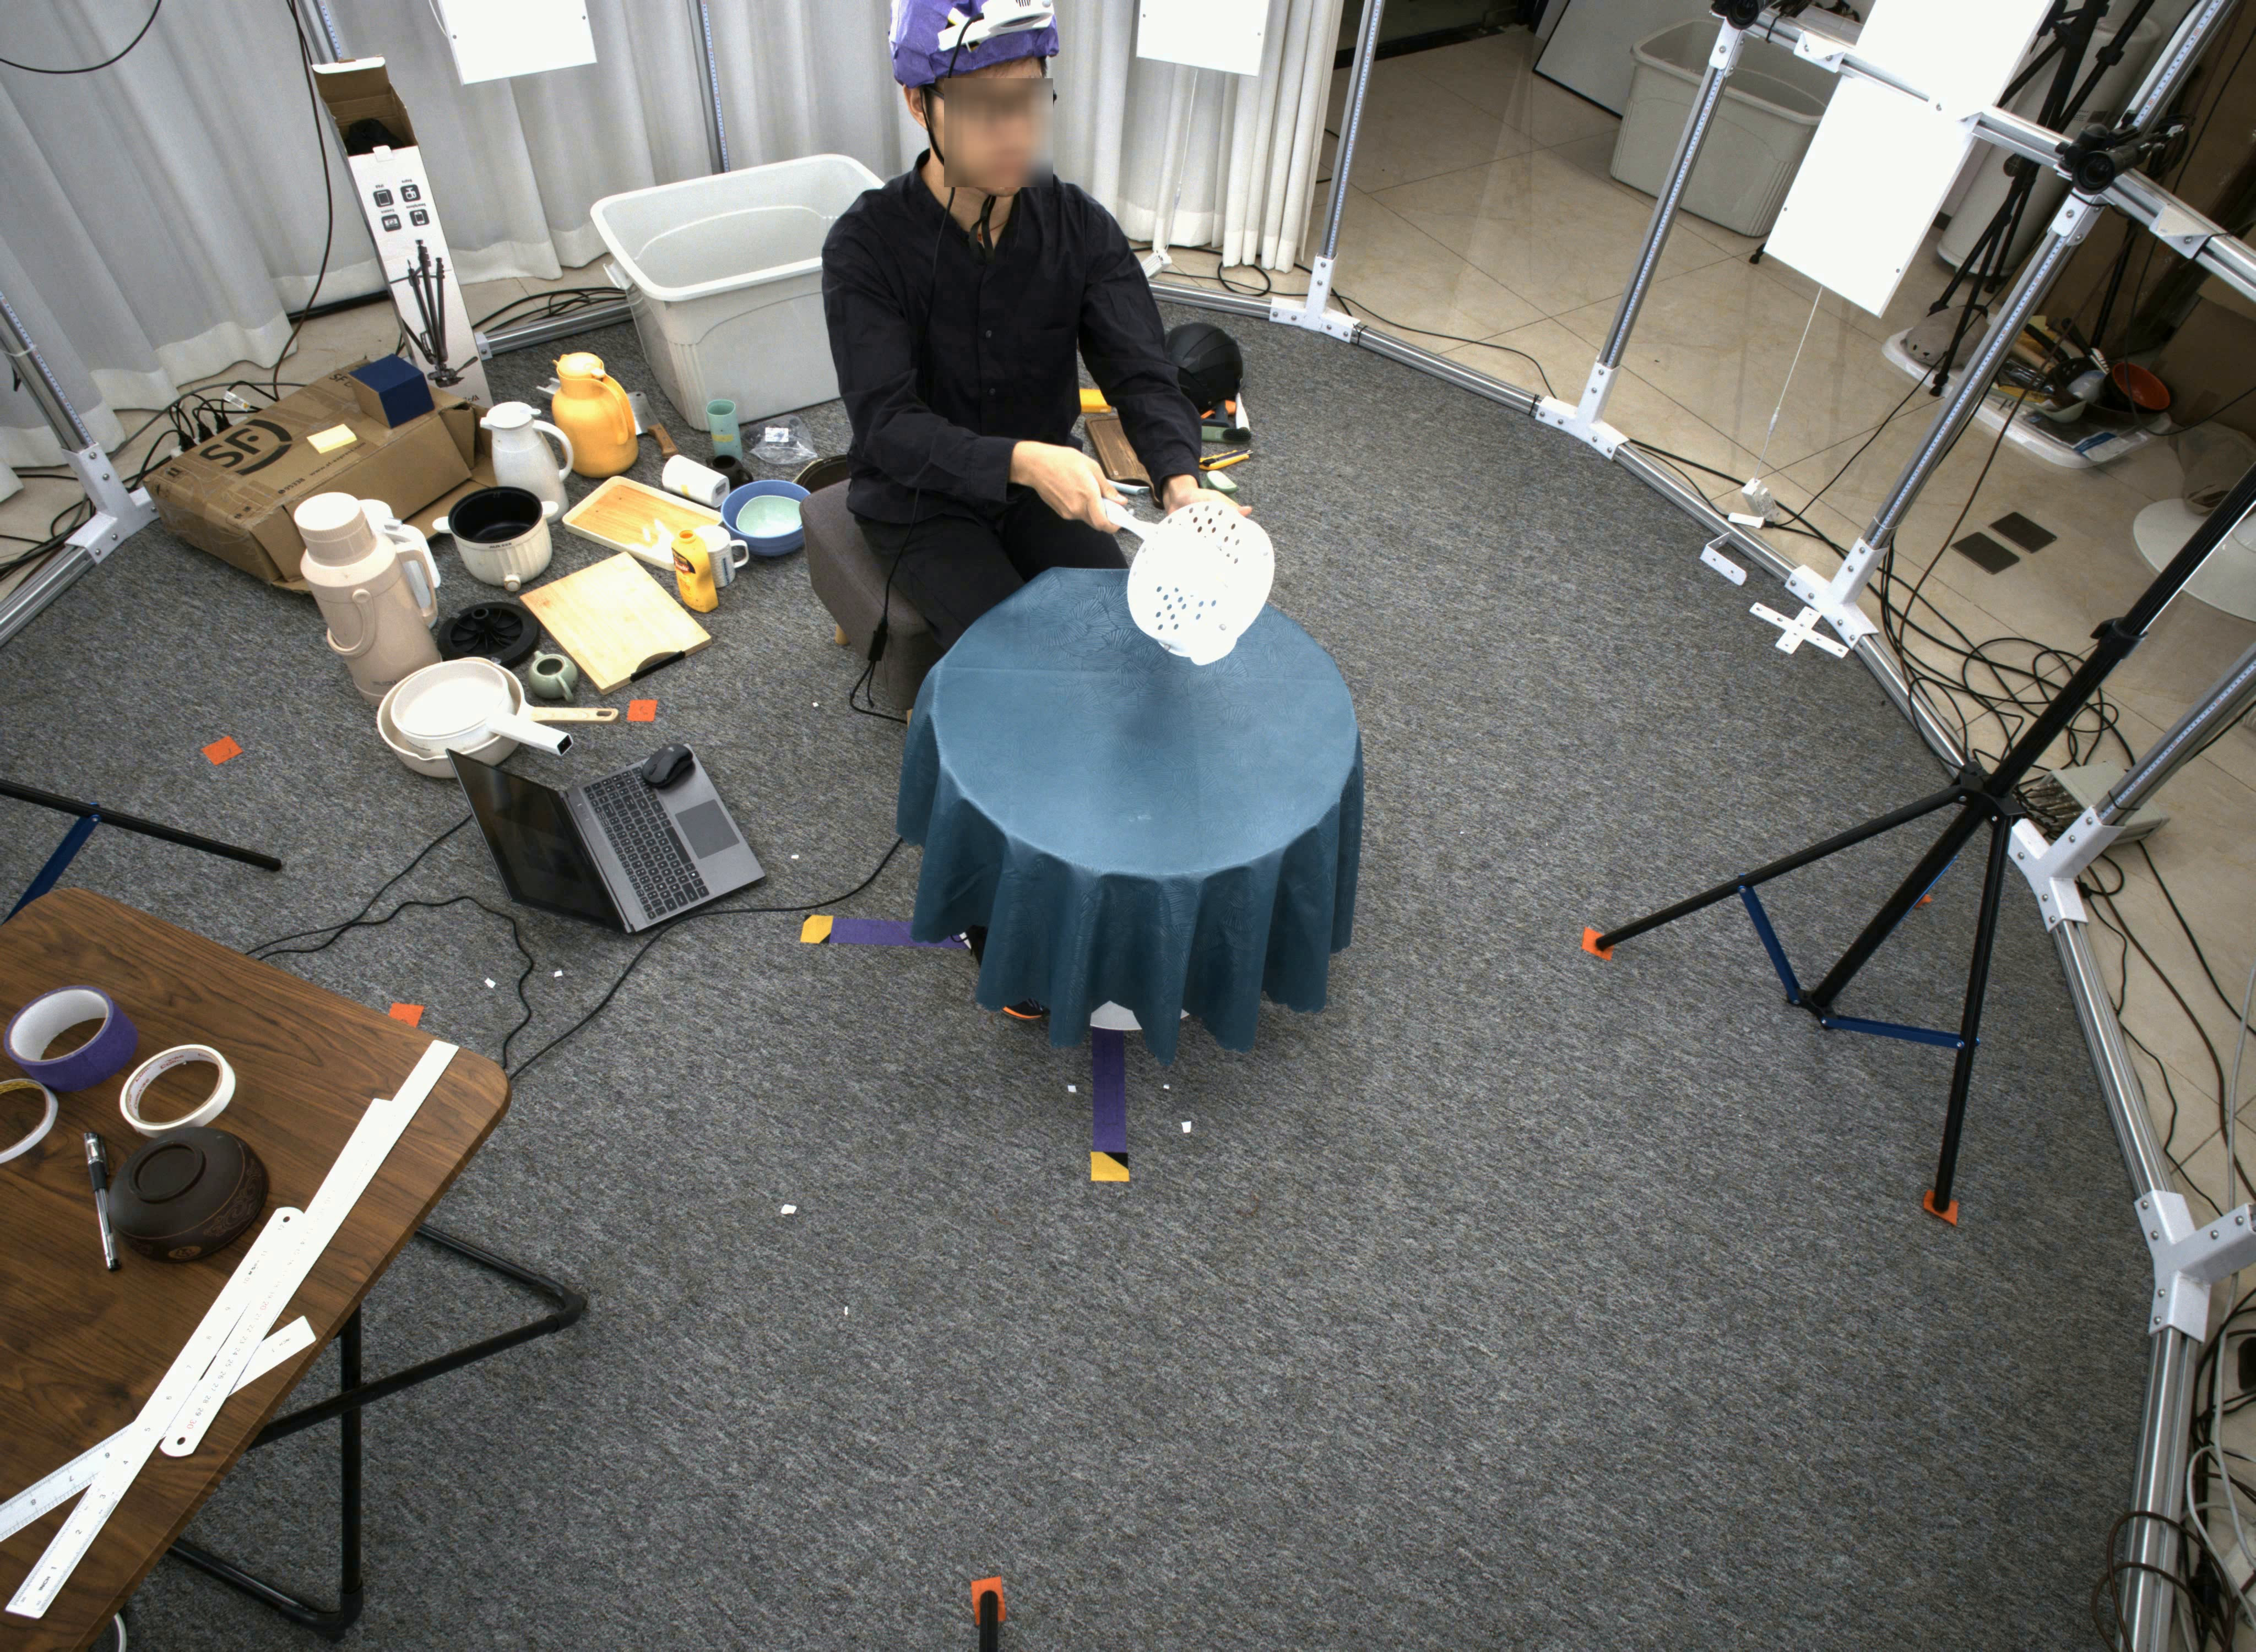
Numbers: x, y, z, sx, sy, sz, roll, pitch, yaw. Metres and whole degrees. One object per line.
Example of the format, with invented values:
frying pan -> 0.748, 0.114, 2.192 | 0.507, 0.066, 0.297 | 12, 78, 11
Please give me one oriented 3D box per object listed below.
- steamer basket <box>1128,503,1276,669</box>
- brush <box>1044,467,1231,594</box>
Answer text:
steamer basket -> 0.091, -0.320, 1.668 | 0.201, 0.068, 0.235 | -19, 61, 32
brush -> 0.016, -0.384, 1.671 | 0.083, 0.082, 0.331 | -30, 49, -30
